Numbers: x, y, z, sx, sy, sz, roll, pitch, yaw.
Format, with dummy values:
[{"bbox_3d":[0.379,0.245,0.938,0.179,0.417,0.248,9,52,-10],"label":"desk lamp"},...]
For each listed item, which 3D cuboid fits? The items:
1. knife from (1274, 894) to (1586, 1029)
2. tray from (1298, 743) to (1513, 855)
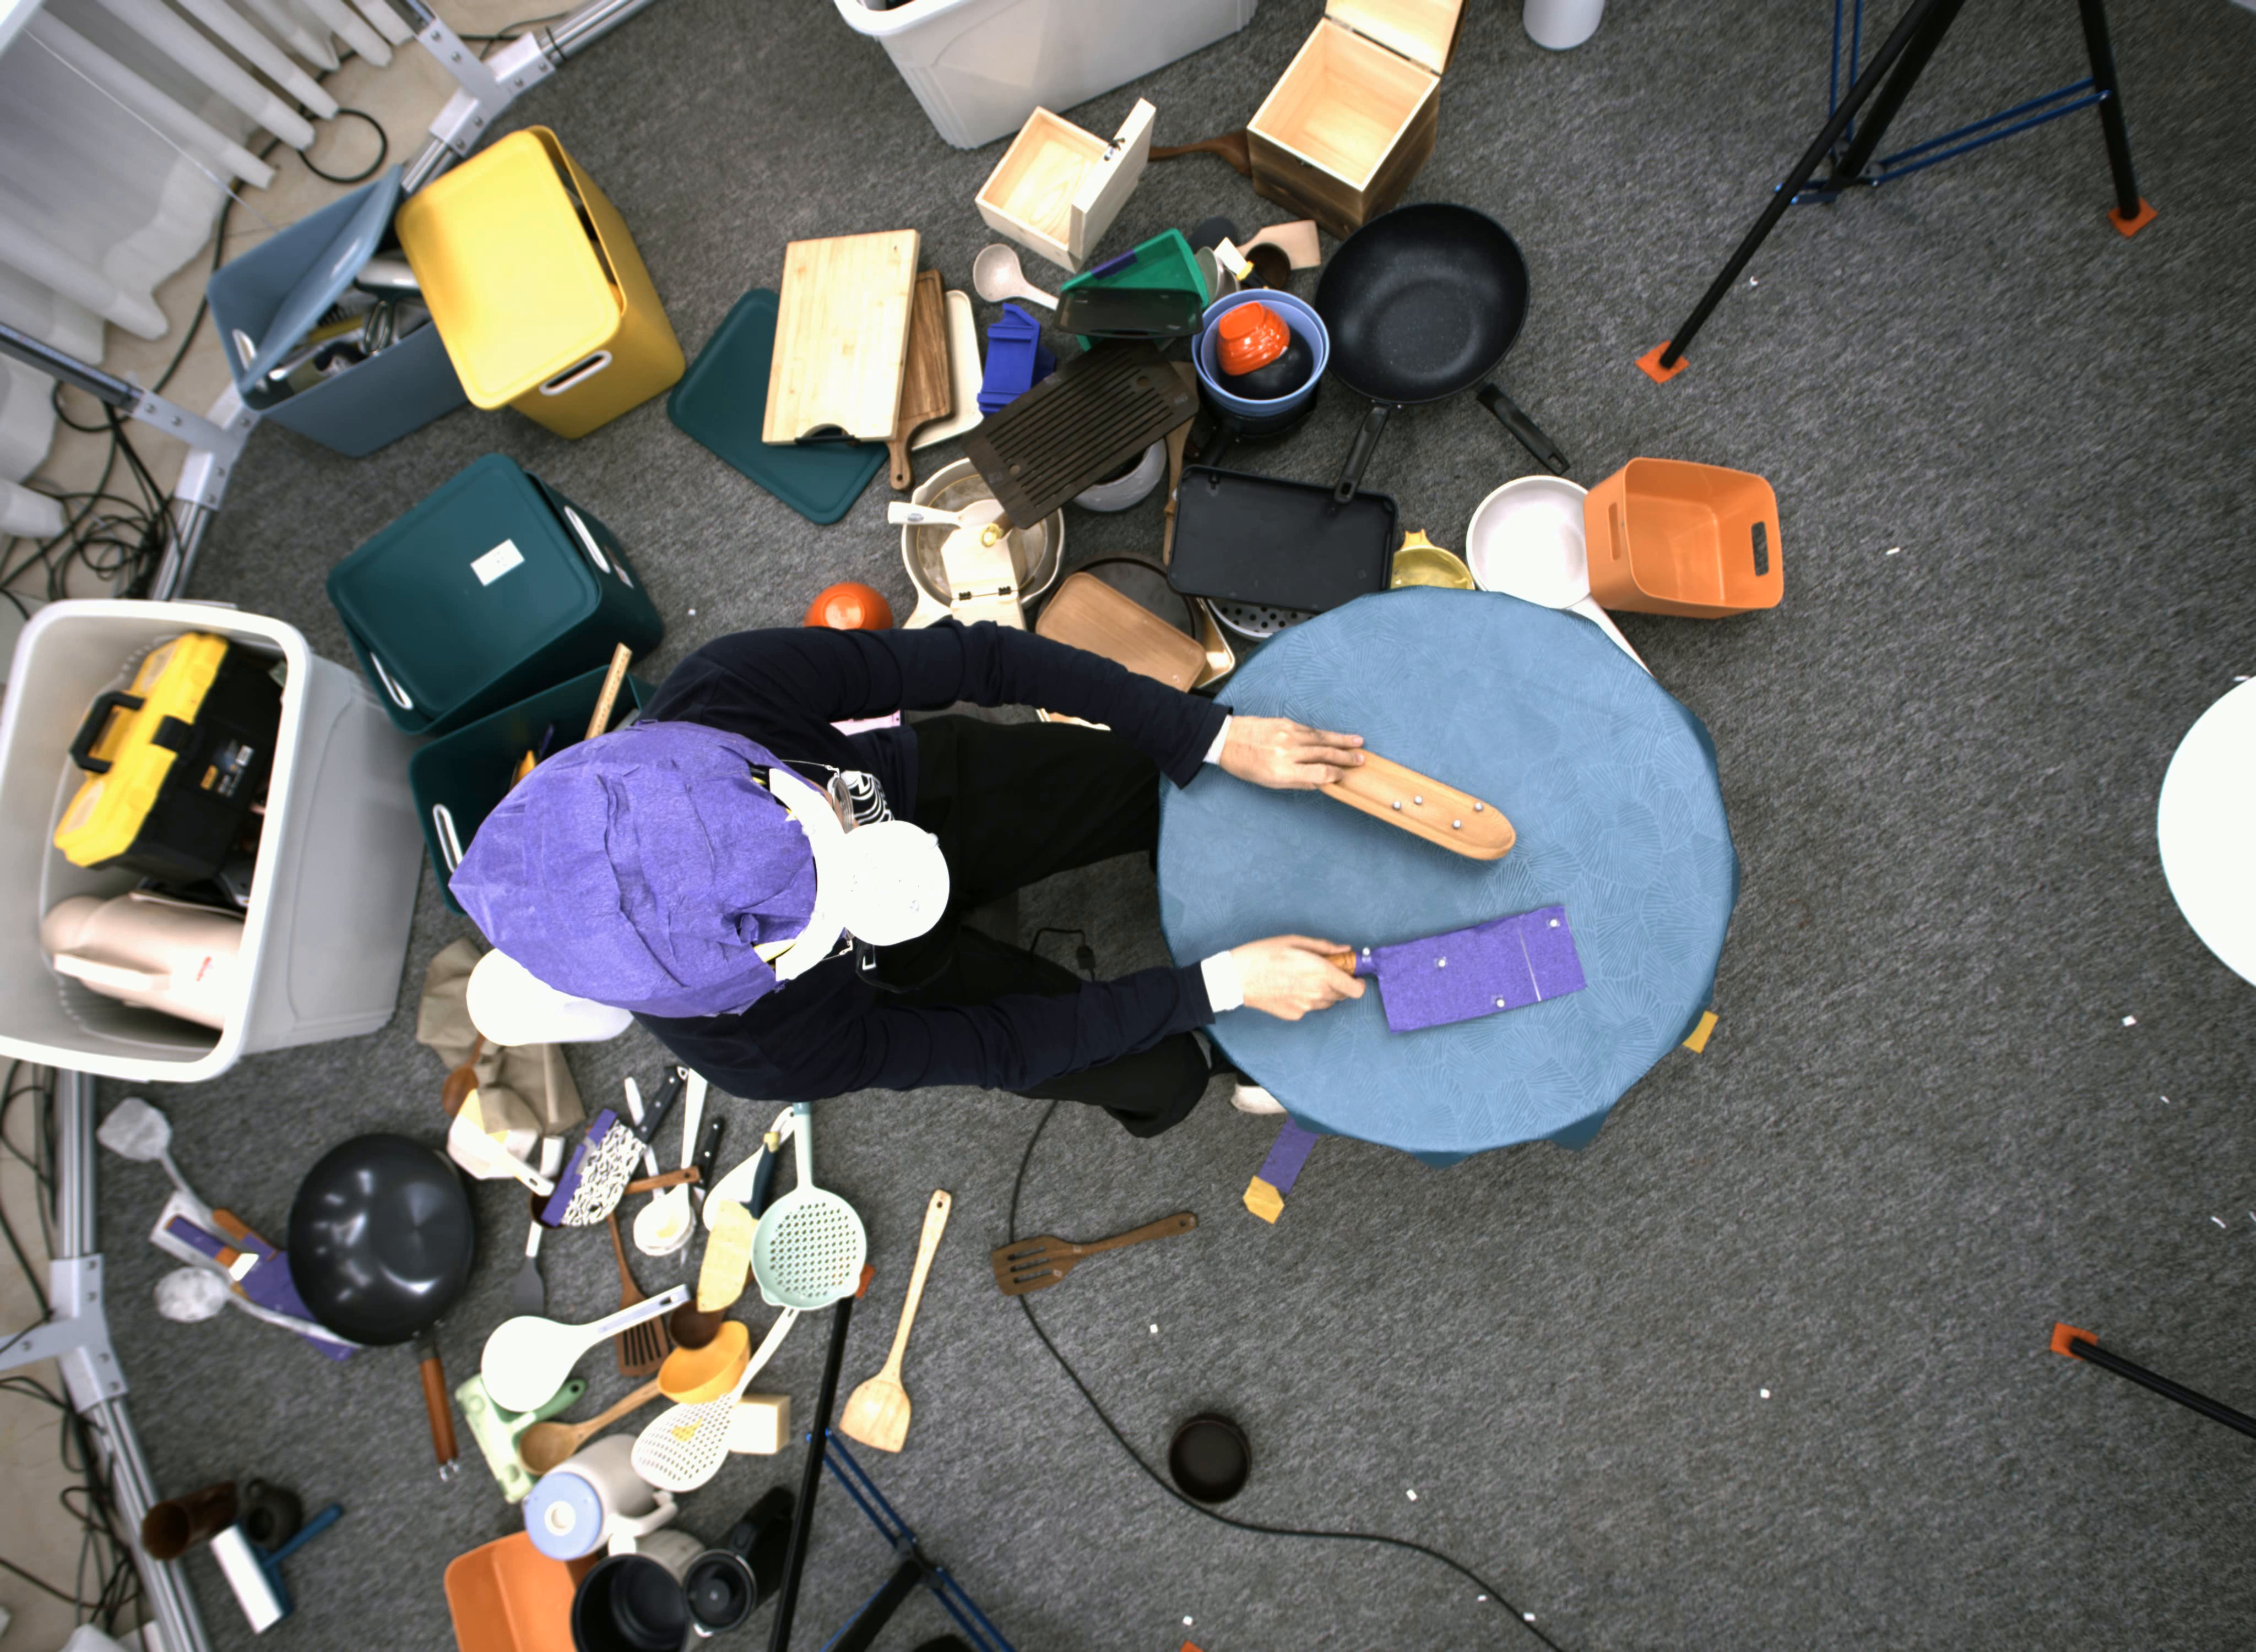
[{"bbox_3d":[0.312,0.154,1.423,0.316,0.032,0.103,-14,85,5],"label":"knife"},{"bbox_3d":[0.284,-0.030,1.420,0.231,0.099,0.021,21,124,11],"label":"tray"}]
